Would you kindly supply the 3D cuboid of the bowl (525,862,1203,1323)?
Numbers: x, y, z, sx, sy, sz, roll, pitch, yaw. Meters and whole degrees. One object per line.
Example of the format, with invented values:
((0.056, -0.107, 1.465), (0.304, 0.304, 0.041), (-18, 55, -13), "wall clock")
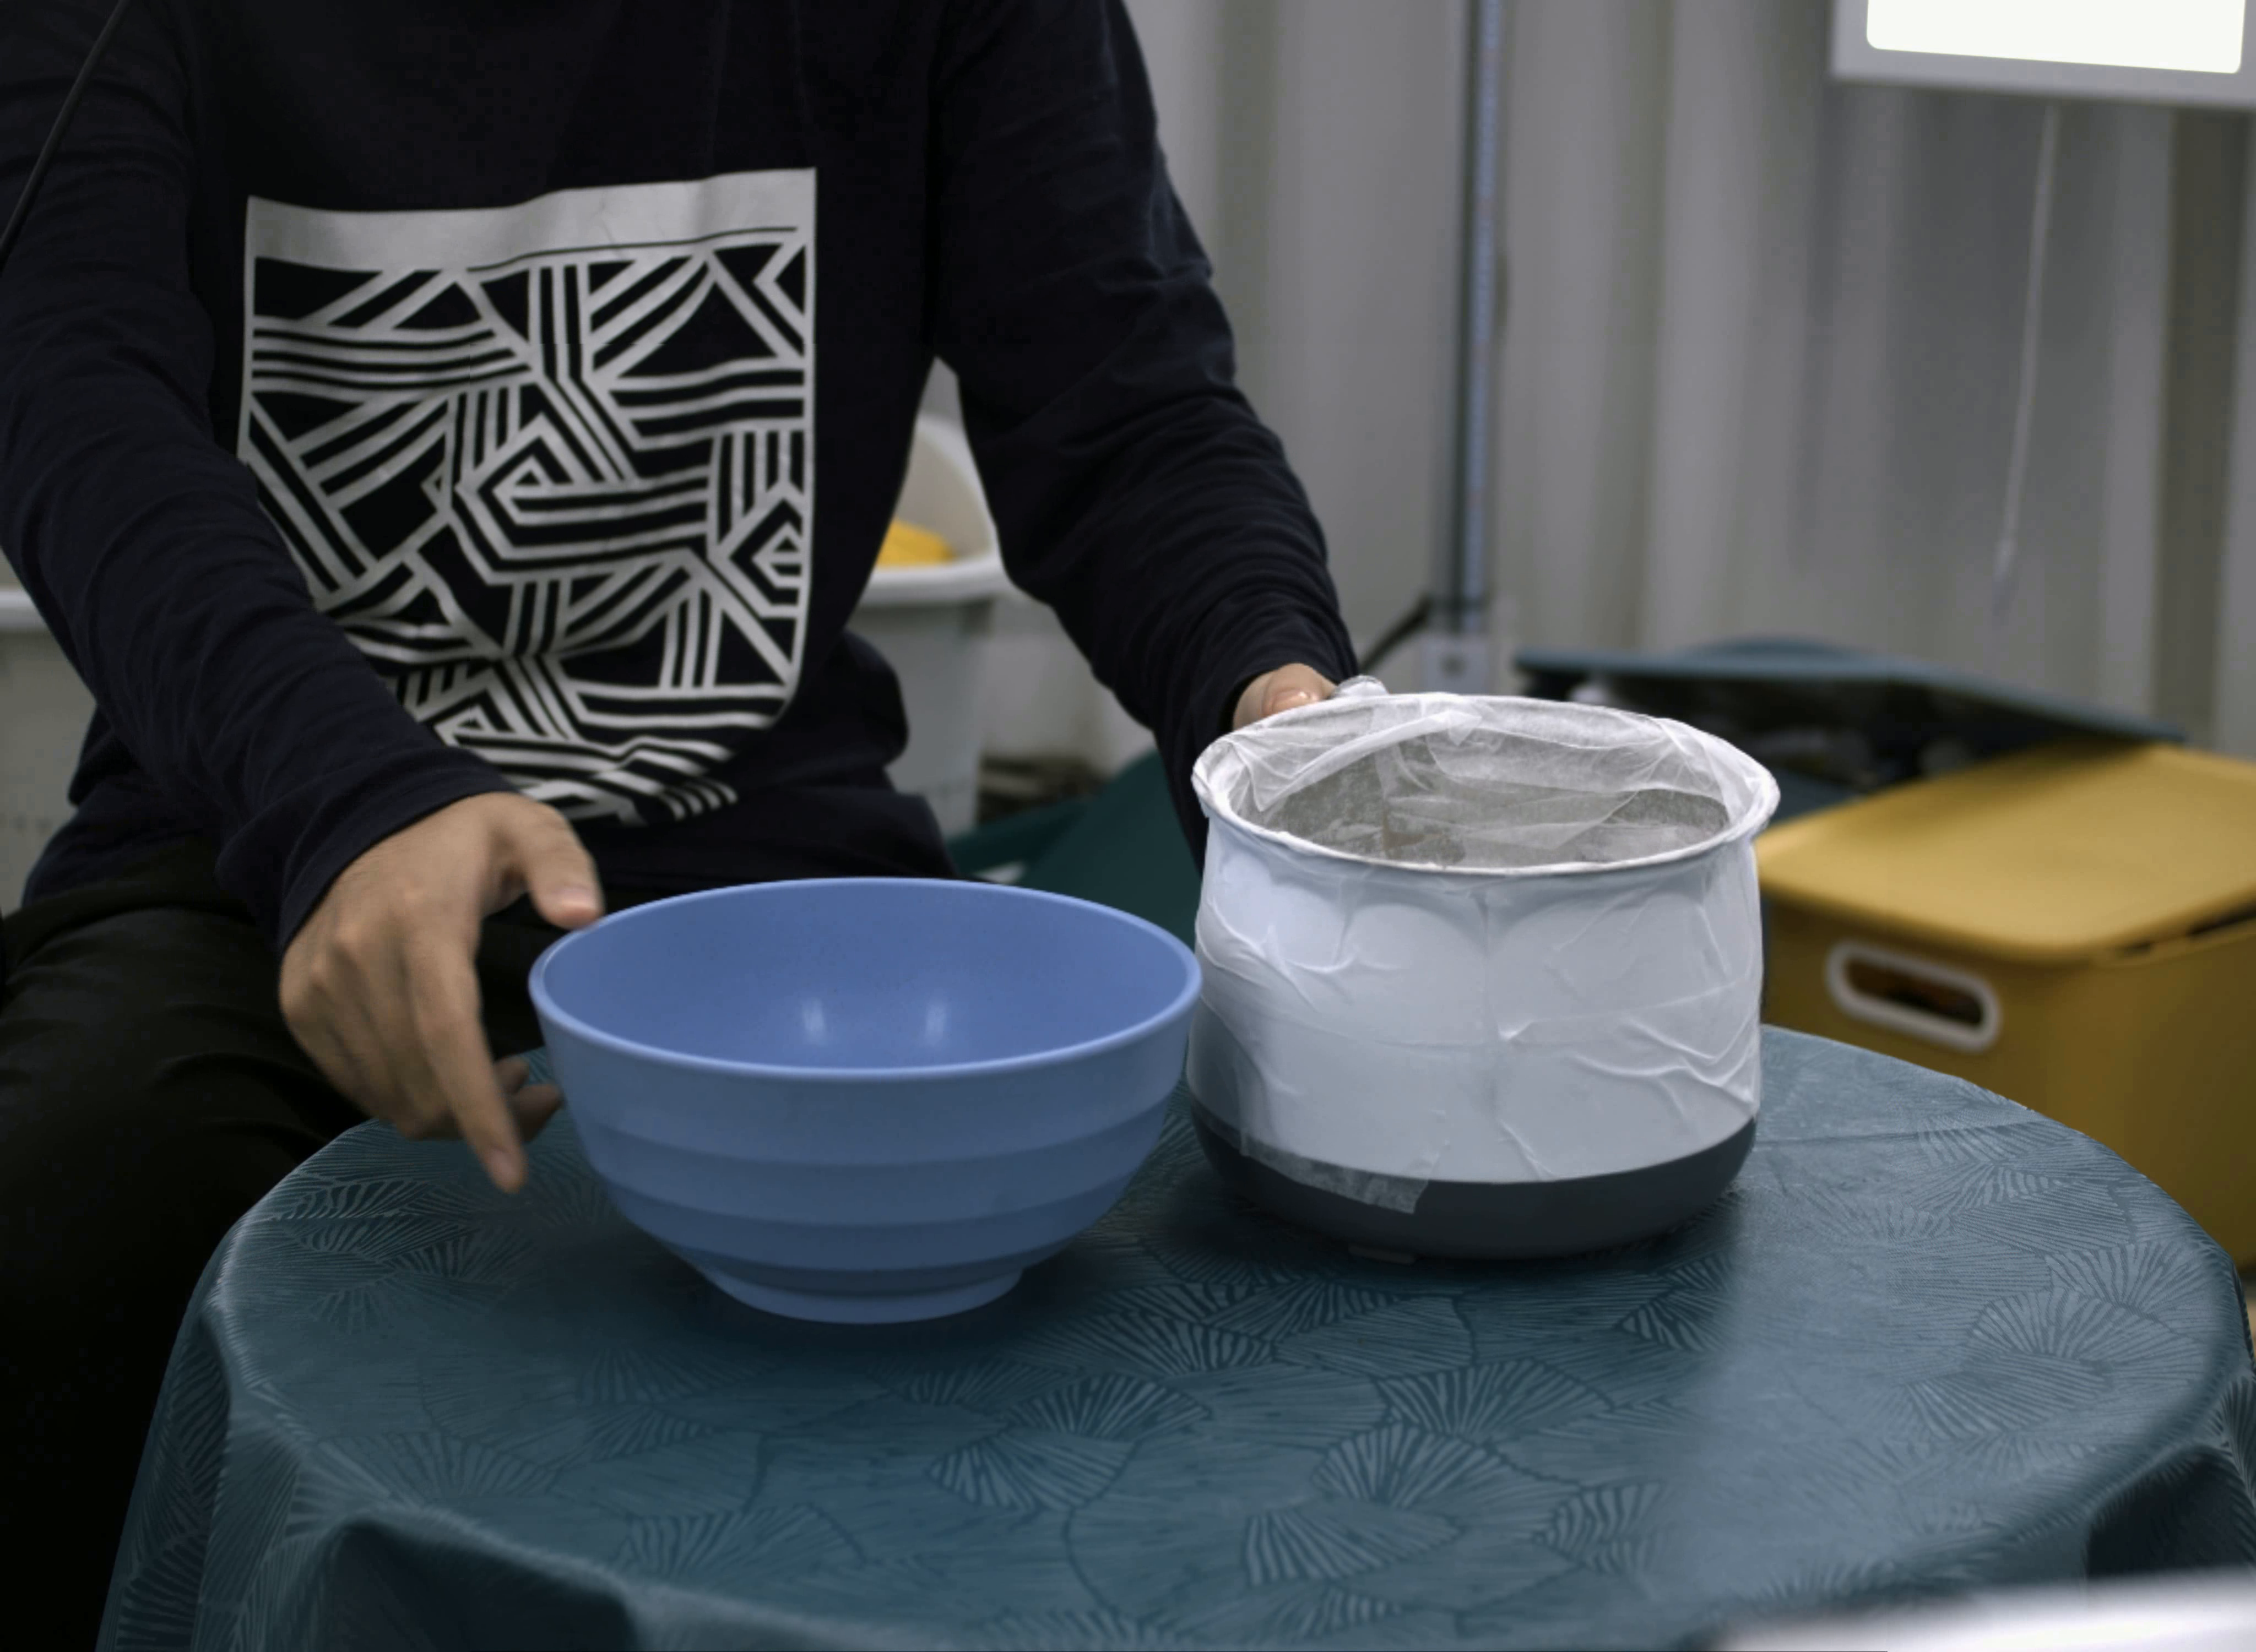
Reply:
((-0.076, 0.084, 1.539), (0.196, 0.096, 0.195), (0, 18, 1), "bowl")

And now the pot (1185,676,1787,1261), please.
((0.097, 0.038, 1.628), (0.179, 0.138, 0.231), (-4, 18, -22), "pot")
